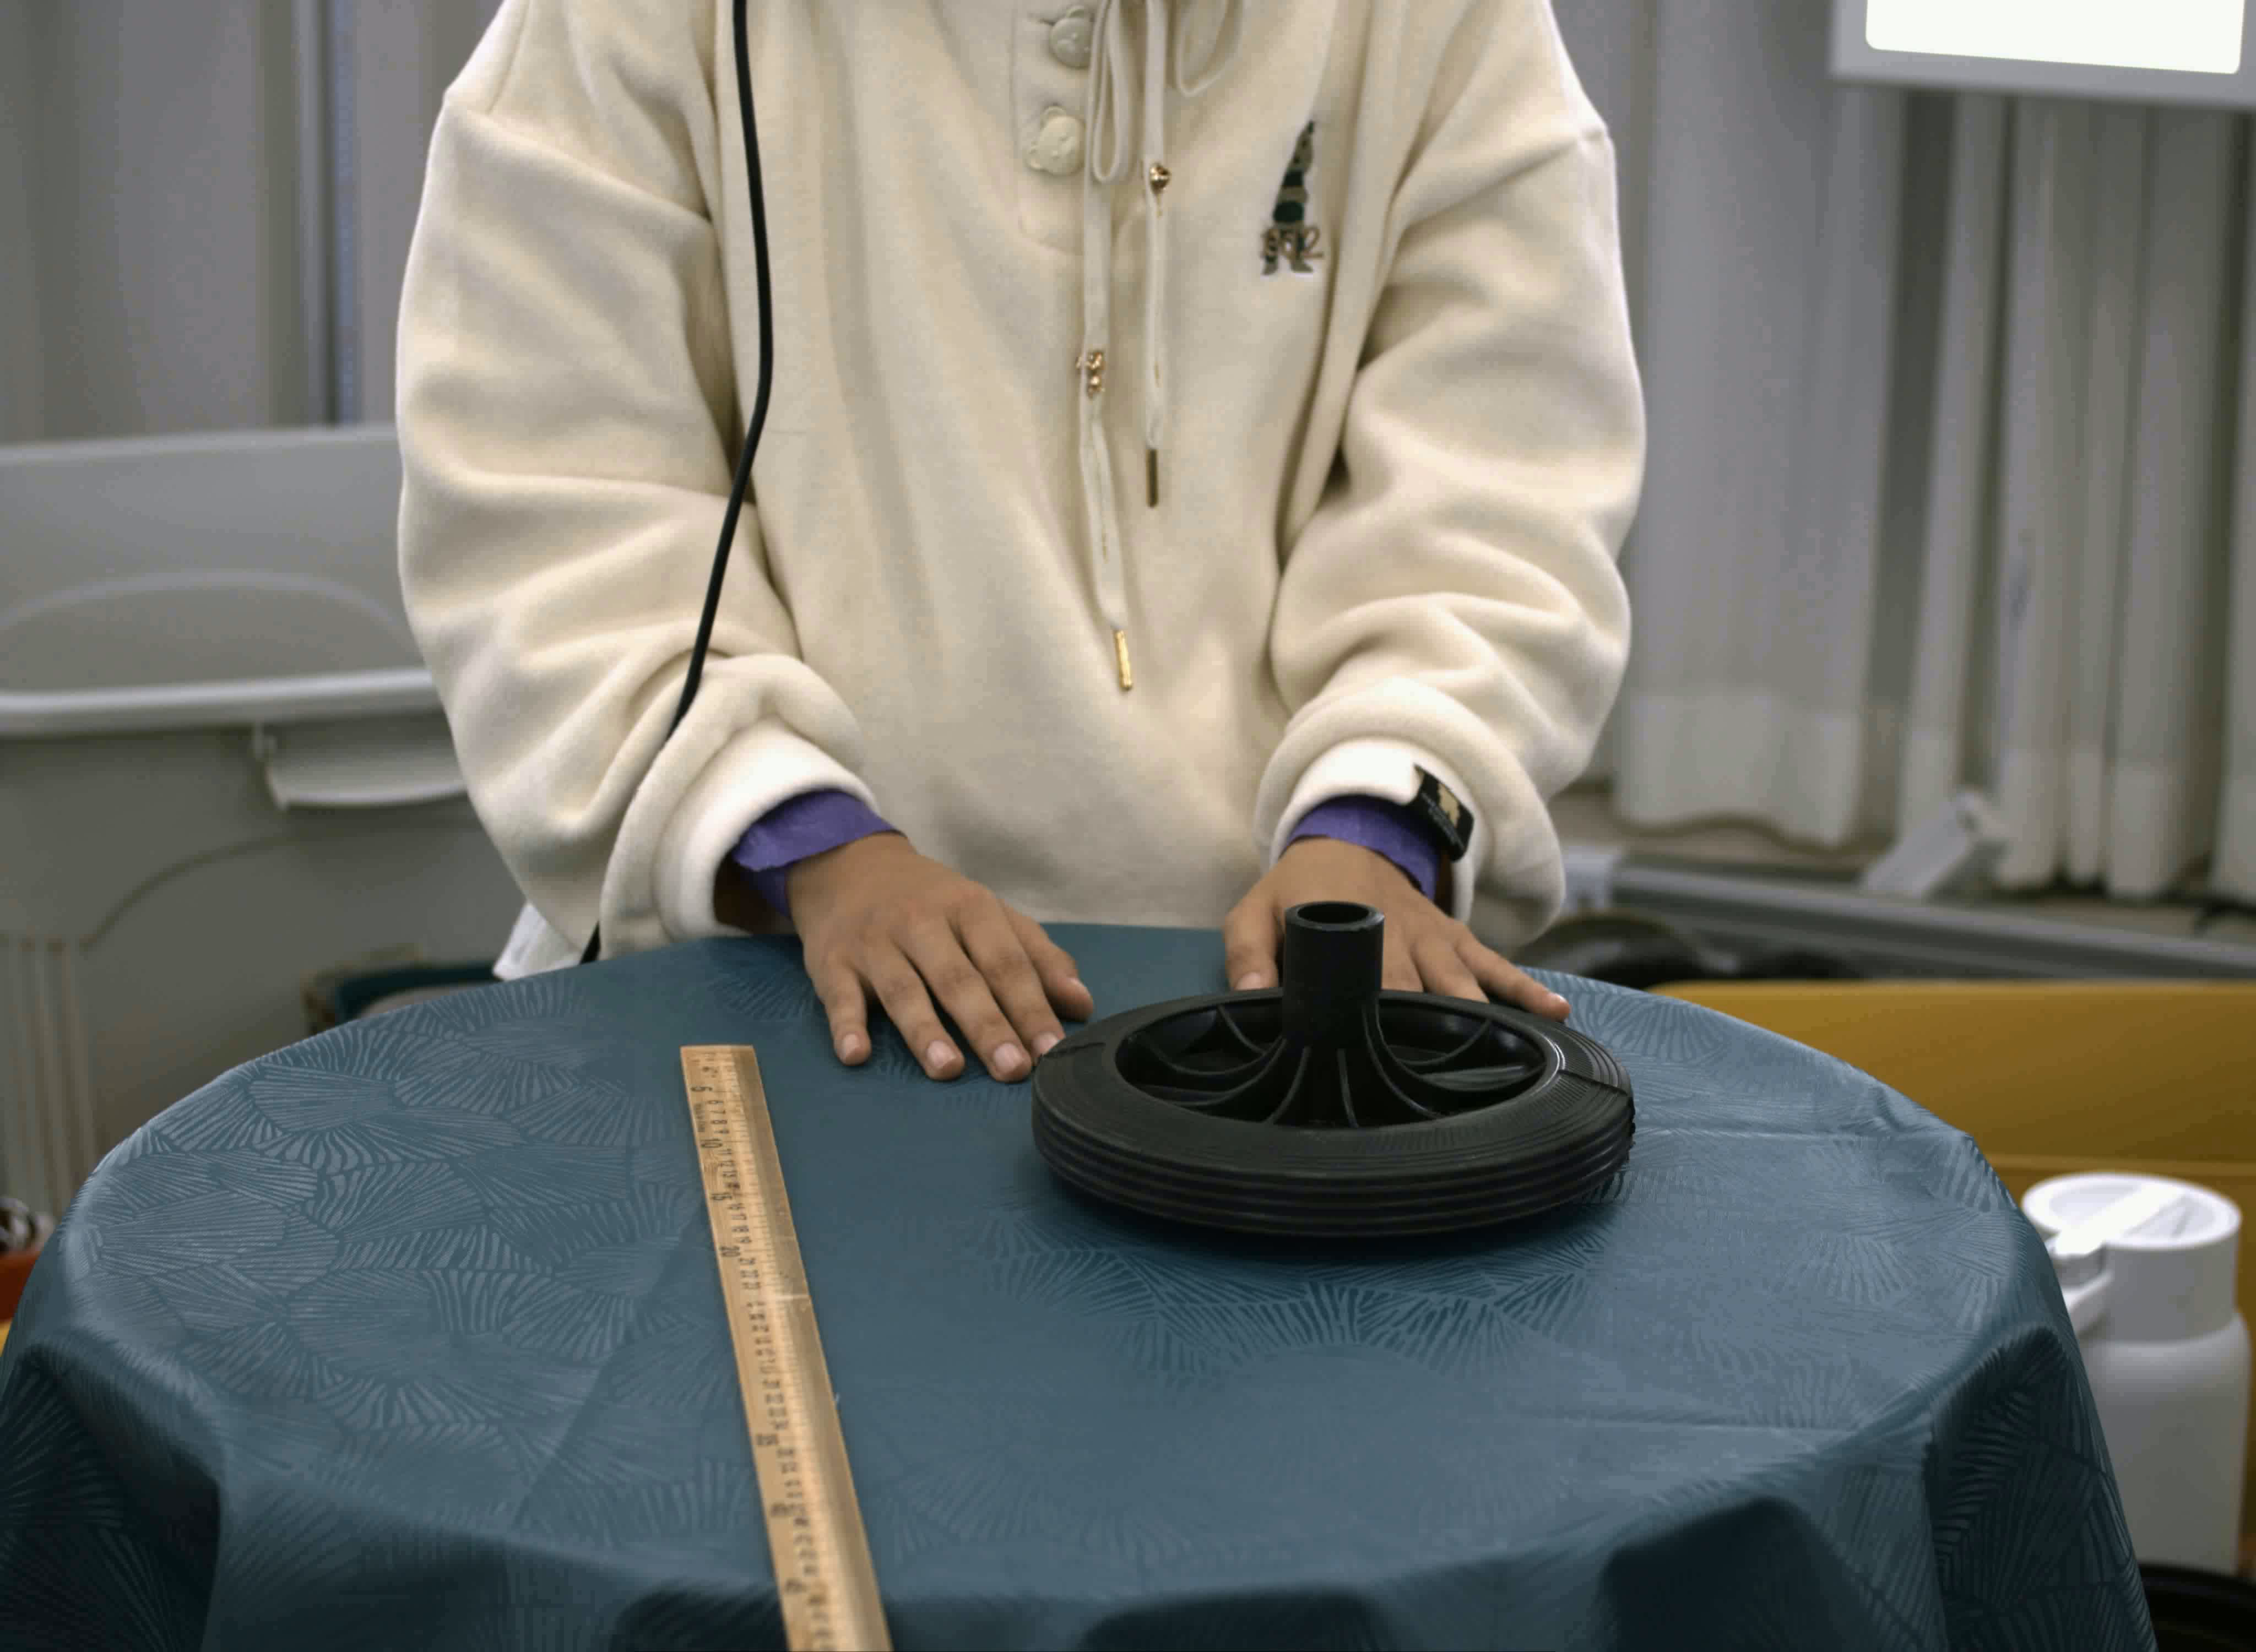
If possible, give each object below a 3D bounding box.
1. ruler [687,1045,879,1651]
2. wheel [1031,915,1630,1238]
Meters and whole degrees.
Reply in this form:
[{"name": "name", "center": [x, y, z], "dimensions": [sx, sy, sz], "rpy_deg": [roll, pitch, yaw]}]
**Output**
[{"name": "ruler", "center": [-0.103, 0.140, 1.508], "dimensions": [0.027, 0.006, 0.496], "rpy_deg": [-3, 16, -7]}, {"name": "wheel", "center": [0.064, 0.069, 1.636], "dimensions": [0.191, 0.080, 0.185], "rpy_deg": [-13, 20, -41]}]
